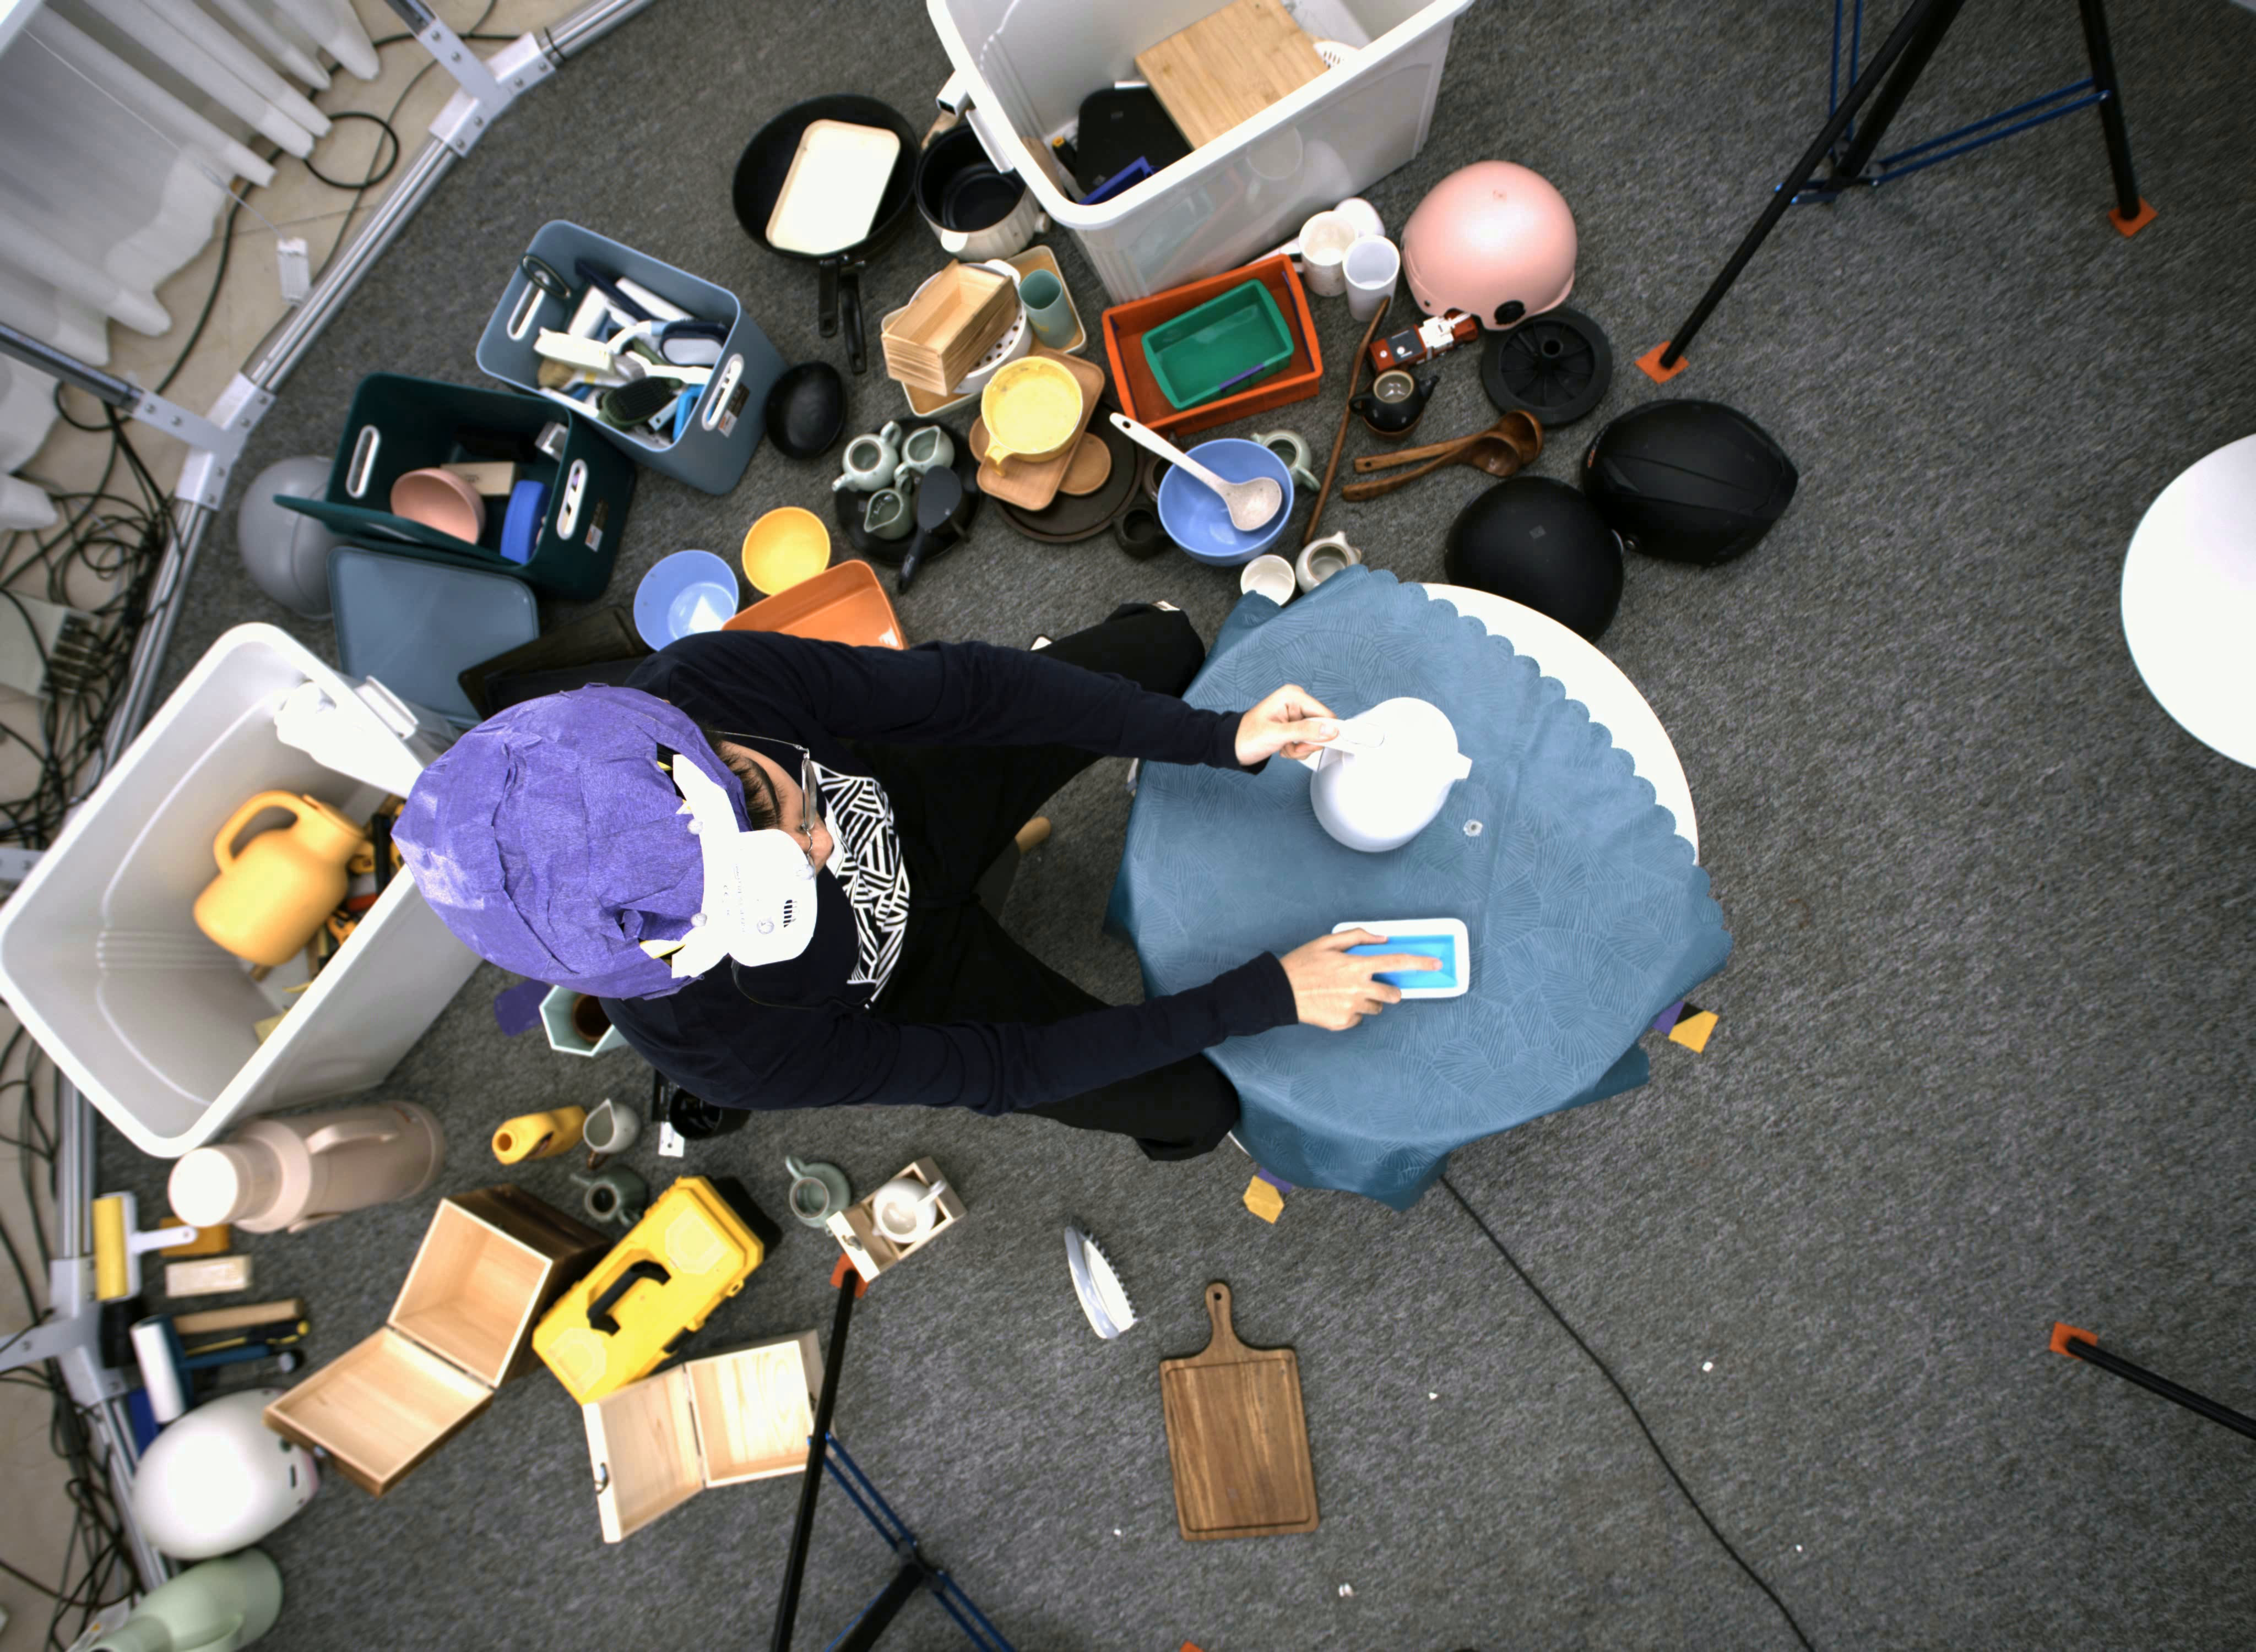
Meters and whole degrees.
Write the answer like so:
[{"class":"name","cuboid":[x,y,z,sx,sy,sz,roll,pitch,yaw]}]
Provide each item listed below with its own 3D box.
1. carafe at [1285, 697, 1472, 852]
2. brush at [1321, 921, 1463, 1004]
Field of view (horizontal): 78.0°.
[{"class":"carafe","cuboid":[0.233,-0.059,1.336,0.168,0.249,0.132,15,84,5]},{"class":"brush","cuboid":[0.269,0.139,1.409,0.144,0.055,0.084,1,92,12]}]
